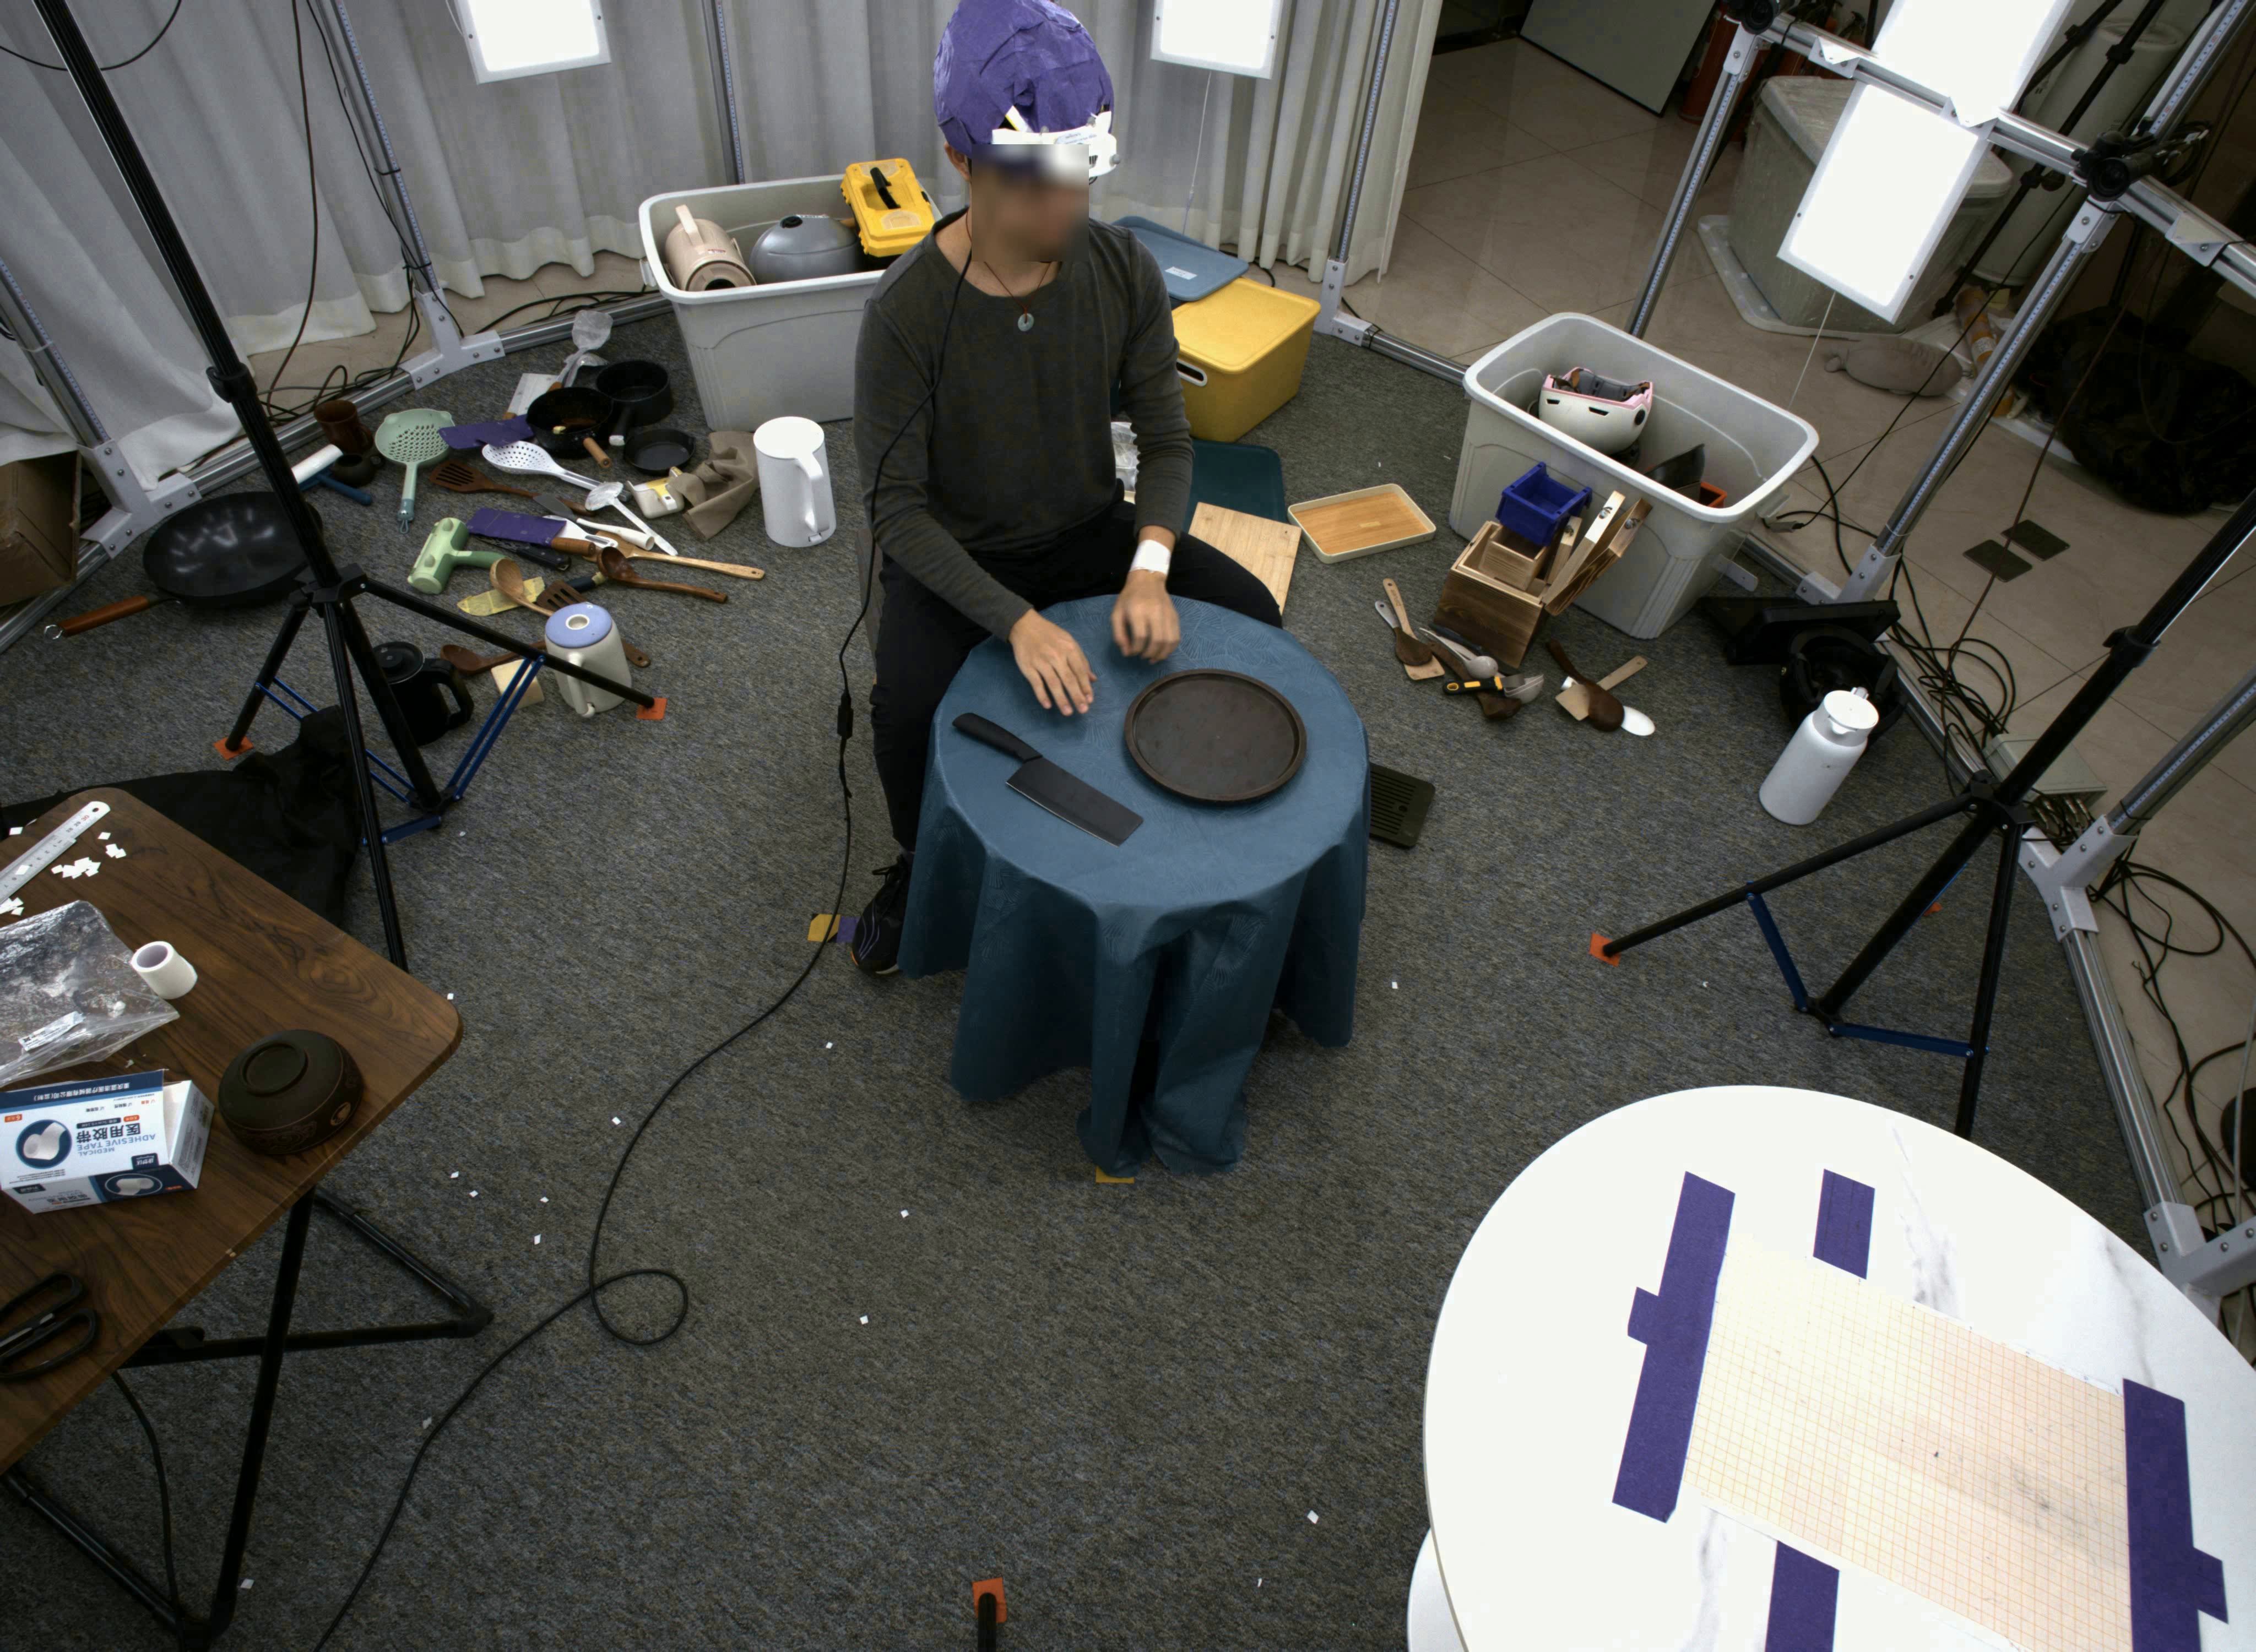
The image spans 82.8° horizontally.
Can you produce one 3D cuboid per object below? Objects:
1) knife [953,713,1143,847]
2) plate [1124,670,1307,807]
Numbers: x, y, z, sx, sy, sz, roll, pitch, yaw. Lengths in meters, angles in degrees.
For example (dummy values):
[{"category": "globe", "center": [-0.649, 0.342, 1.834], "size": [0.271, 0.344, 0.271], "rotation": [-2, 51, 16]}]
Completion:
[{"category": "knife", "center": [-0.116, -0.066, 1.708], "size": [0.306, 0.020, 0.082], "rotation": [35, 57, 22]}, {"category": "plate", "center": [0.120, -0.123, 1.767], "size": [0.254, 0.028, 0.261], "rotation": [2, 50, -3]}]
